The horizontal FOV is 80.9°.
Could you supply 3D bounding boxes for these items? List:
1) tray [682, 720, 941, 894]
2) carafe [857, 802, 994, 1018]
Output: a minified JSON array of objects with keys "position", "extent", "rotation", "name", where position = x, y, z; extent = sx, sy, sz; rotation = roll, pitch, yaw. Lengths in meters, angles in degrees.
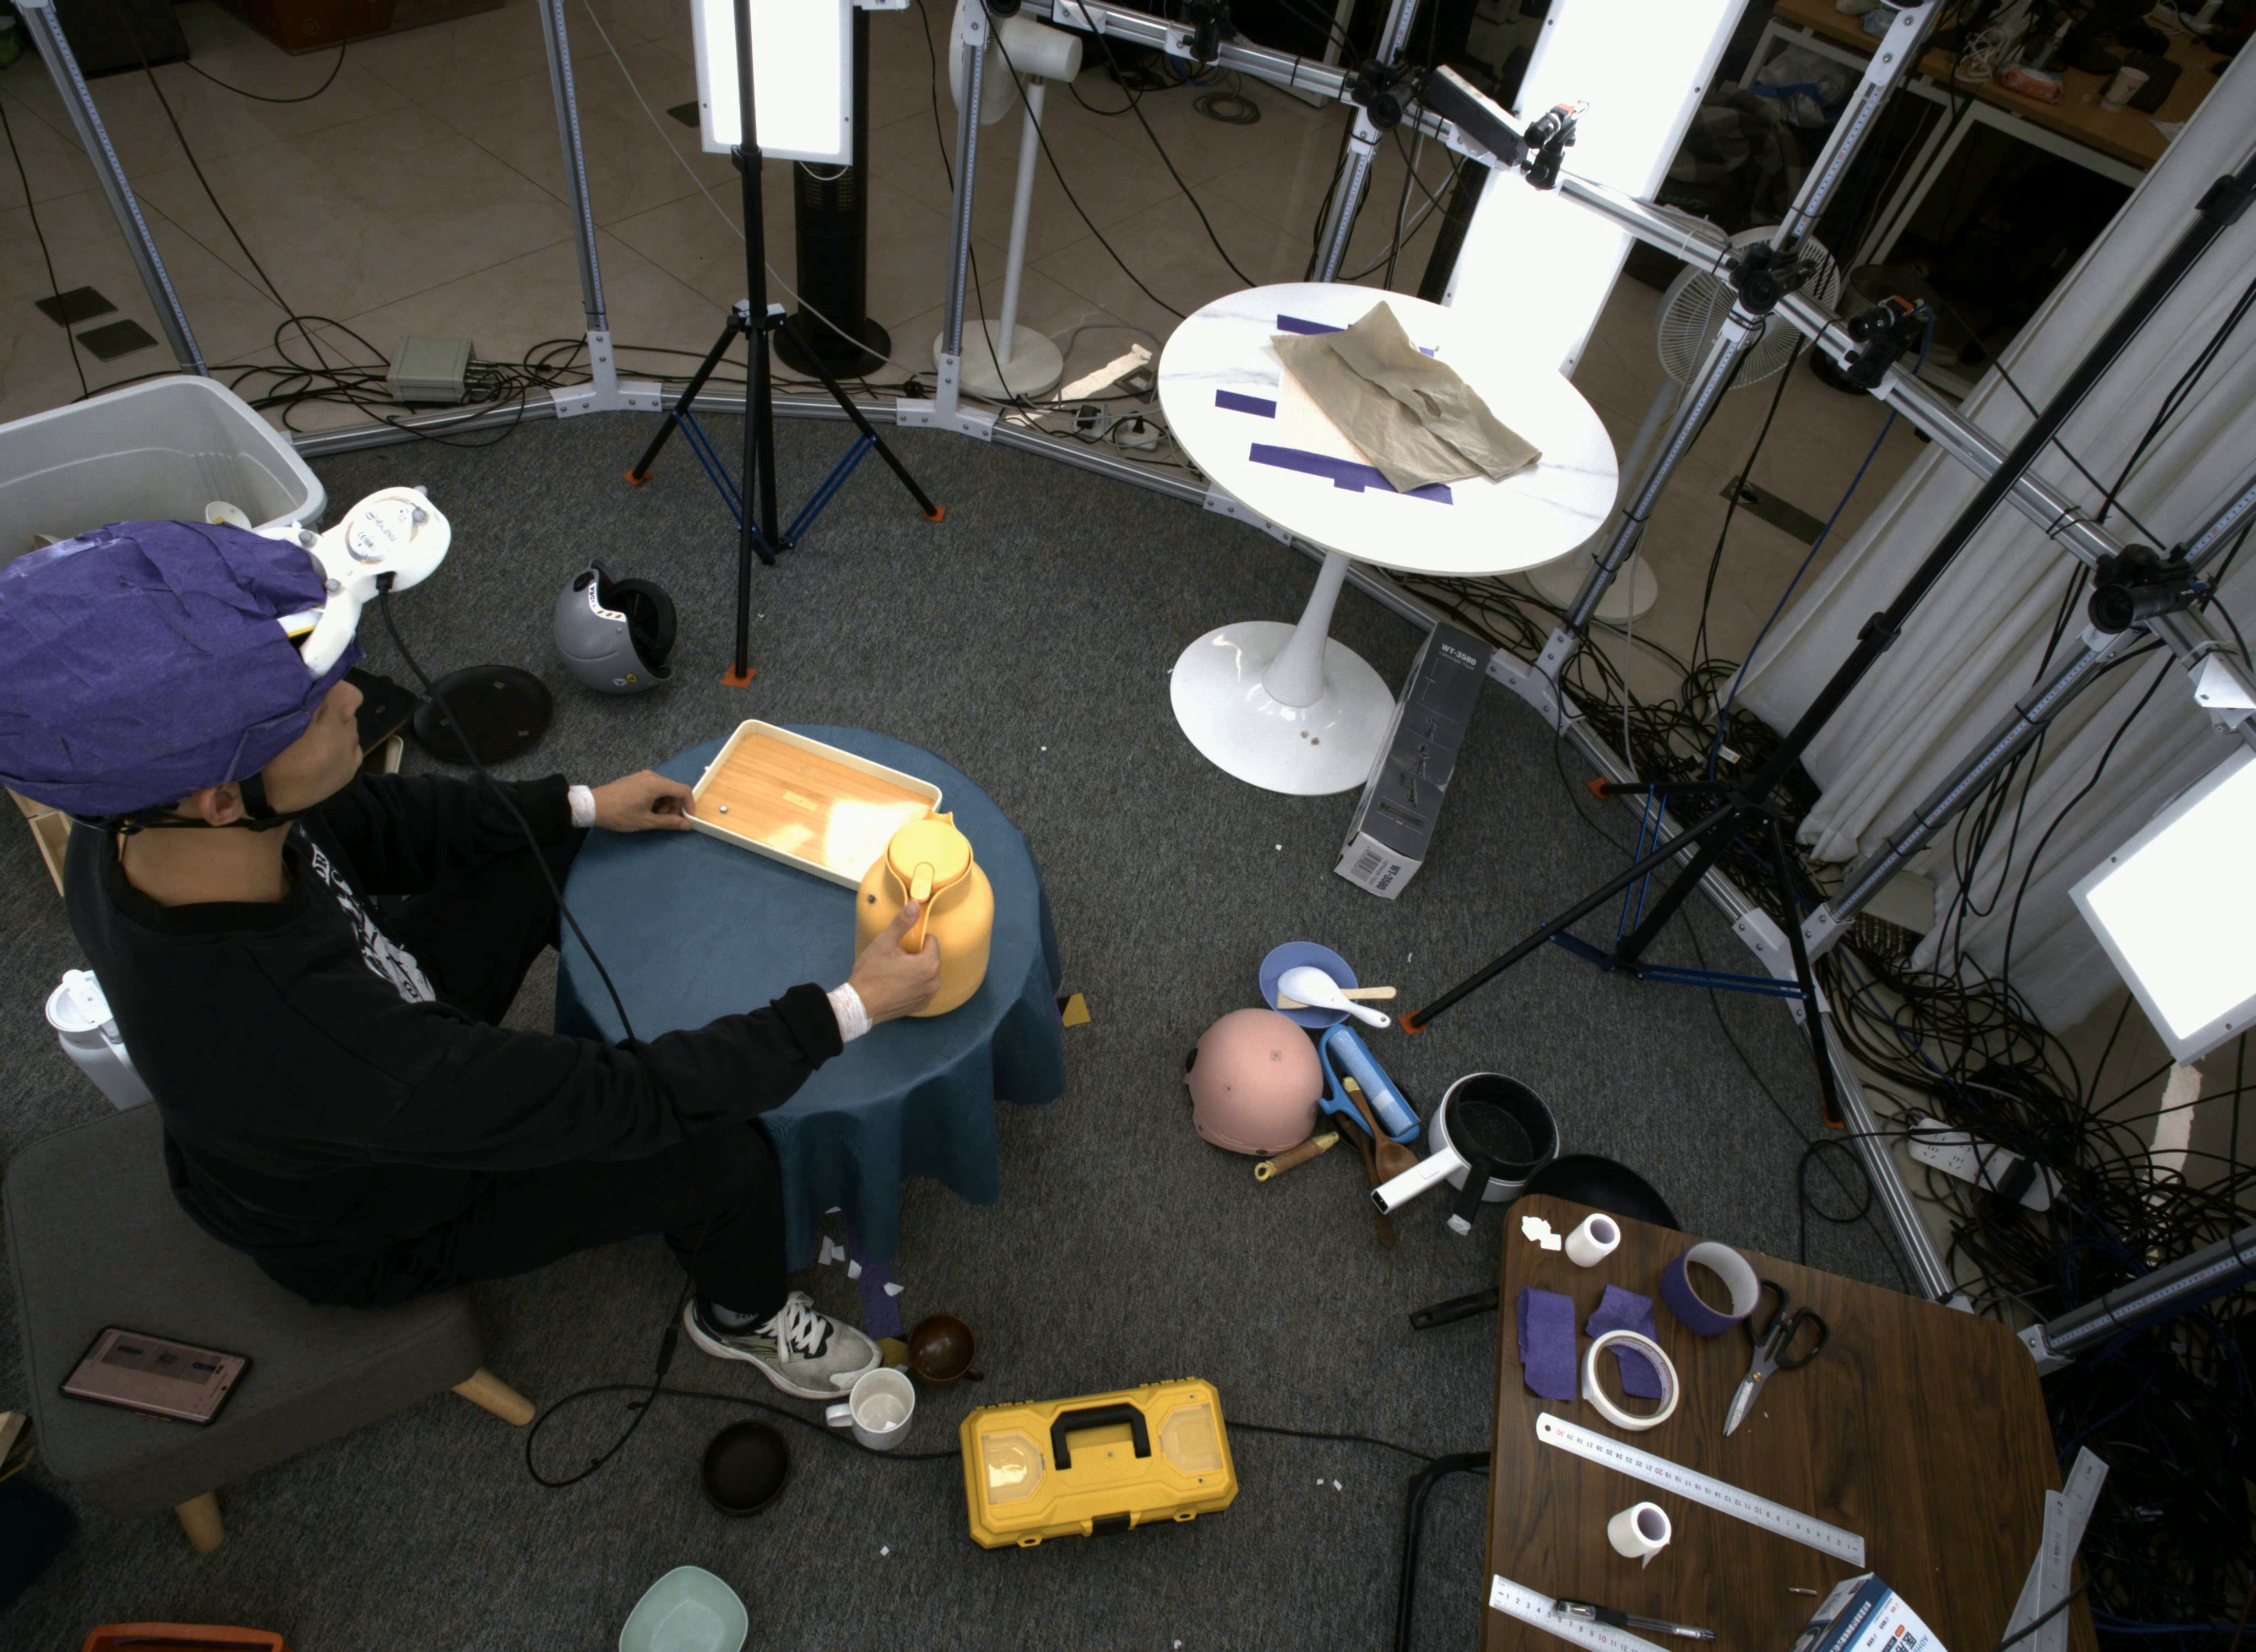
[{"position":[-0.418,-0.026,1.725],"extent":[0.297,0.028,0.190],"rotation":[20,51,1],"name":"tray"},{"position":[-0.241,0.112,1.518],"extent":[0.162,0.266,0.199],"rotation":[9,51,-3],"name":"carafe"}]
